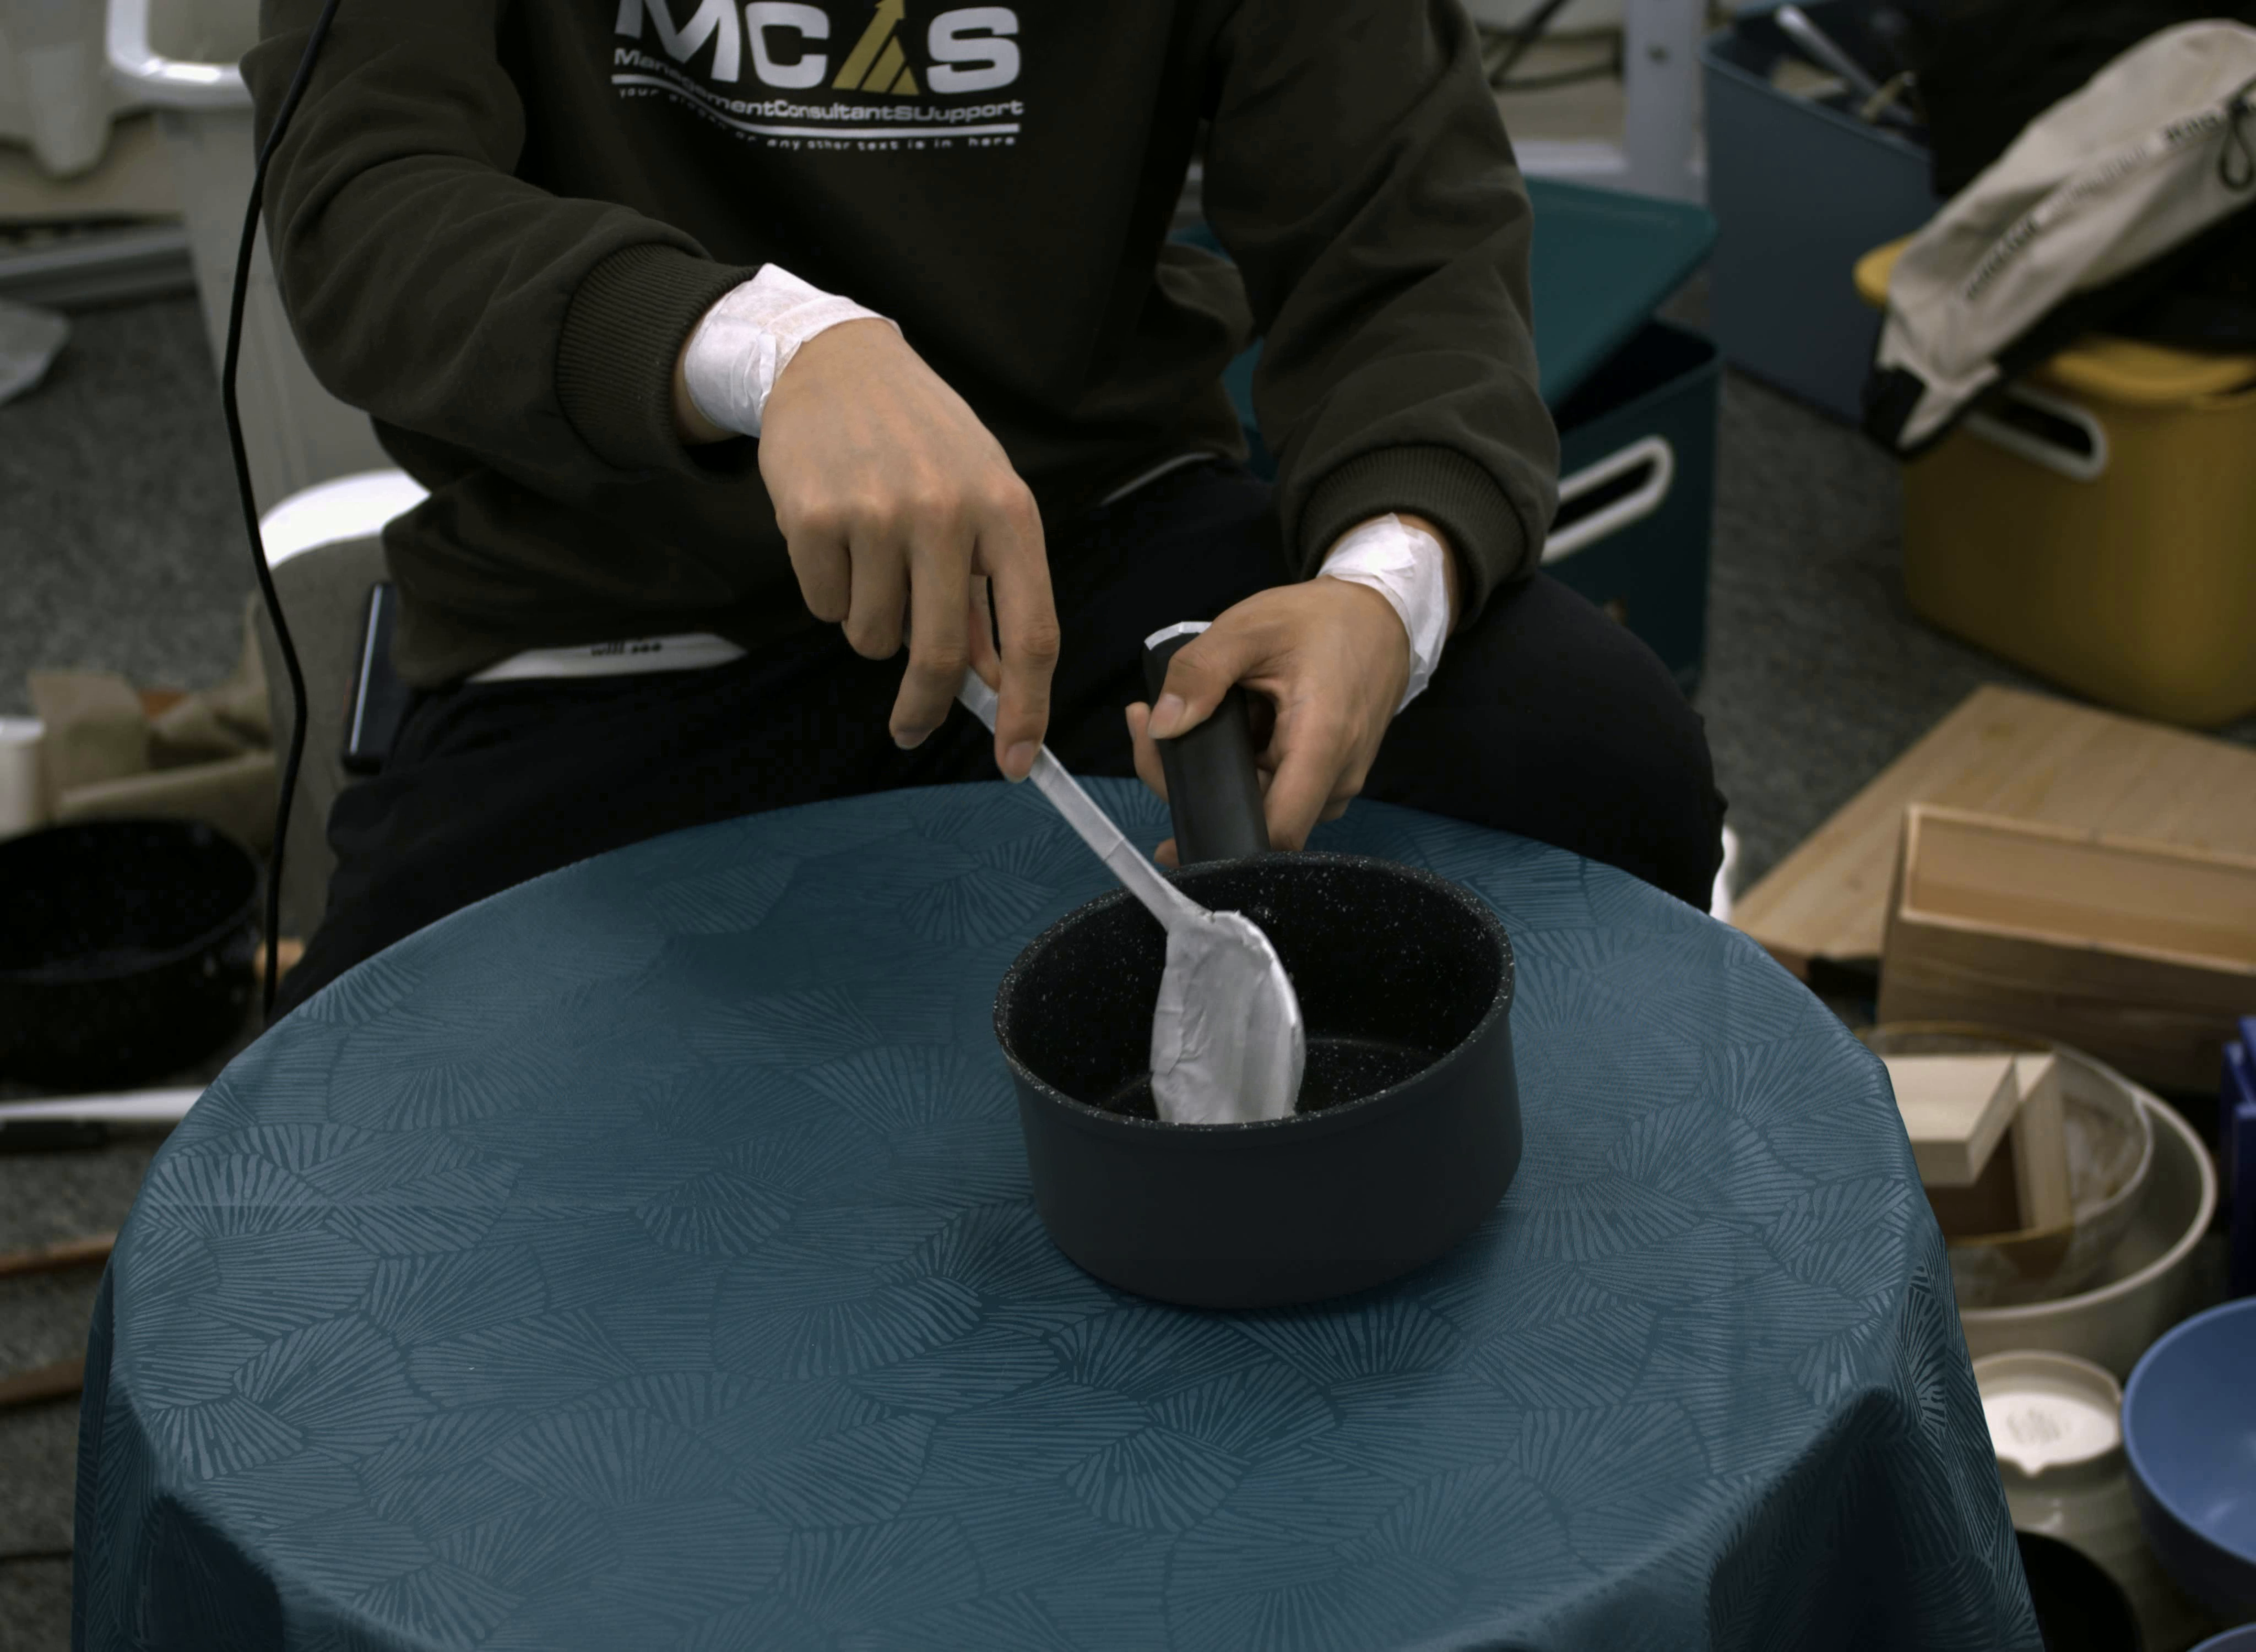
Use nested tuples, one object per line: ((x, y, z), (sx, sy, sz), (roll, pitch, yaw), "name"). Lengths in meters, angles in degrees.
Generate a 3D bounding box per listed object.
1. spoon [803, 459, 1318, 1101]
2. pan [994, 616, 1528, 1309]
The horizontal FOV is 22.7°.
((-0.029, -0.009, 1.847), (0.278, 0.099, 0.060), (50, 38, 6), "spoon")
((0.042, 0.042, 1.906), (0.171, 0.085, 0.334), (-6, 29, 1), "pan")
